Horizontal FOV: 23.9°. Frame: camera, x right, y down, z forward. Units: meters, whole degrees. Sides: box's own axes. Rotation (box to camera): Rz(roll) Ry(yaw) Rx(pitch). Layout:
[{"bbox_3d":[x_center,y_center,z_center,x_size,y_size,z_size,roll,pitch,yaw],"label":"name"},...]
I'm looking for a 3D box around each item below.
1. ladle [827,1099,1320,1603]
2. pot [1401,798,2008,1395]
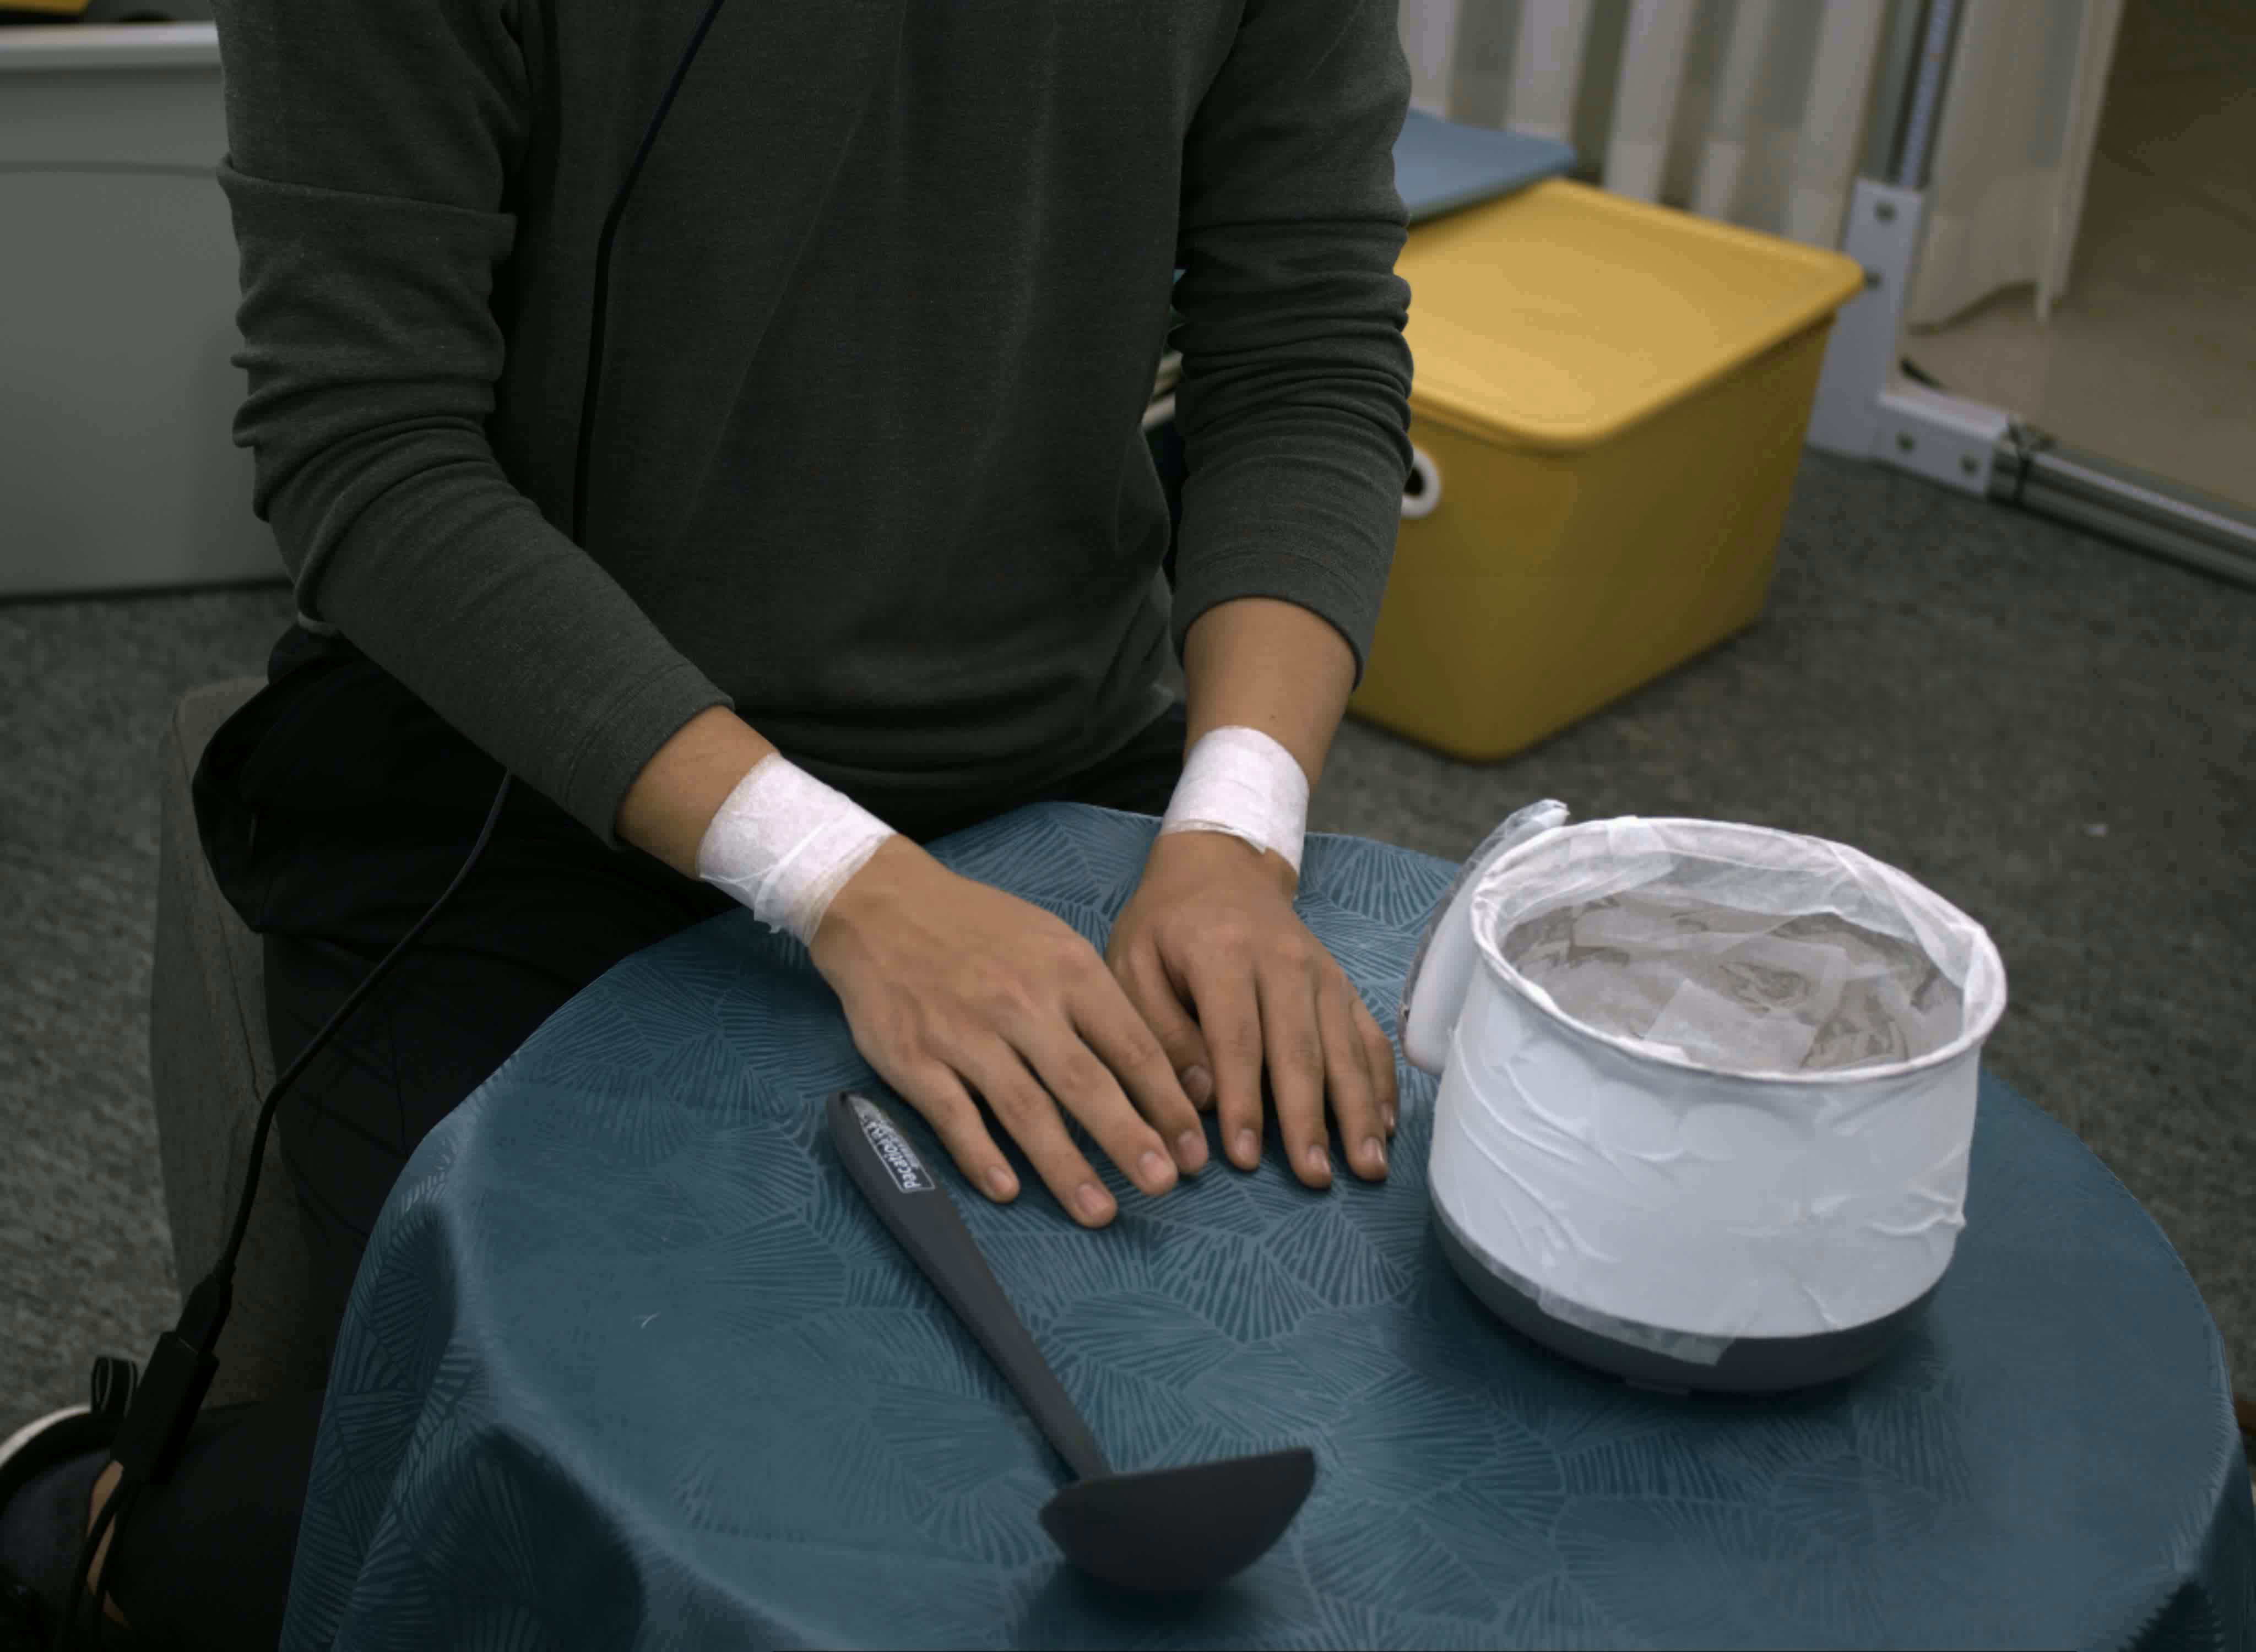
[{"bbox_3d":[-0.035,0.147,1.682,0.085,0.064,0.317,-1,27,-25],"label":"ladle"},{"bbox_3d":[0.175,0.082,1.777,0.177,0.136,0.236,-13,32,-34],"label":"pot"}]
